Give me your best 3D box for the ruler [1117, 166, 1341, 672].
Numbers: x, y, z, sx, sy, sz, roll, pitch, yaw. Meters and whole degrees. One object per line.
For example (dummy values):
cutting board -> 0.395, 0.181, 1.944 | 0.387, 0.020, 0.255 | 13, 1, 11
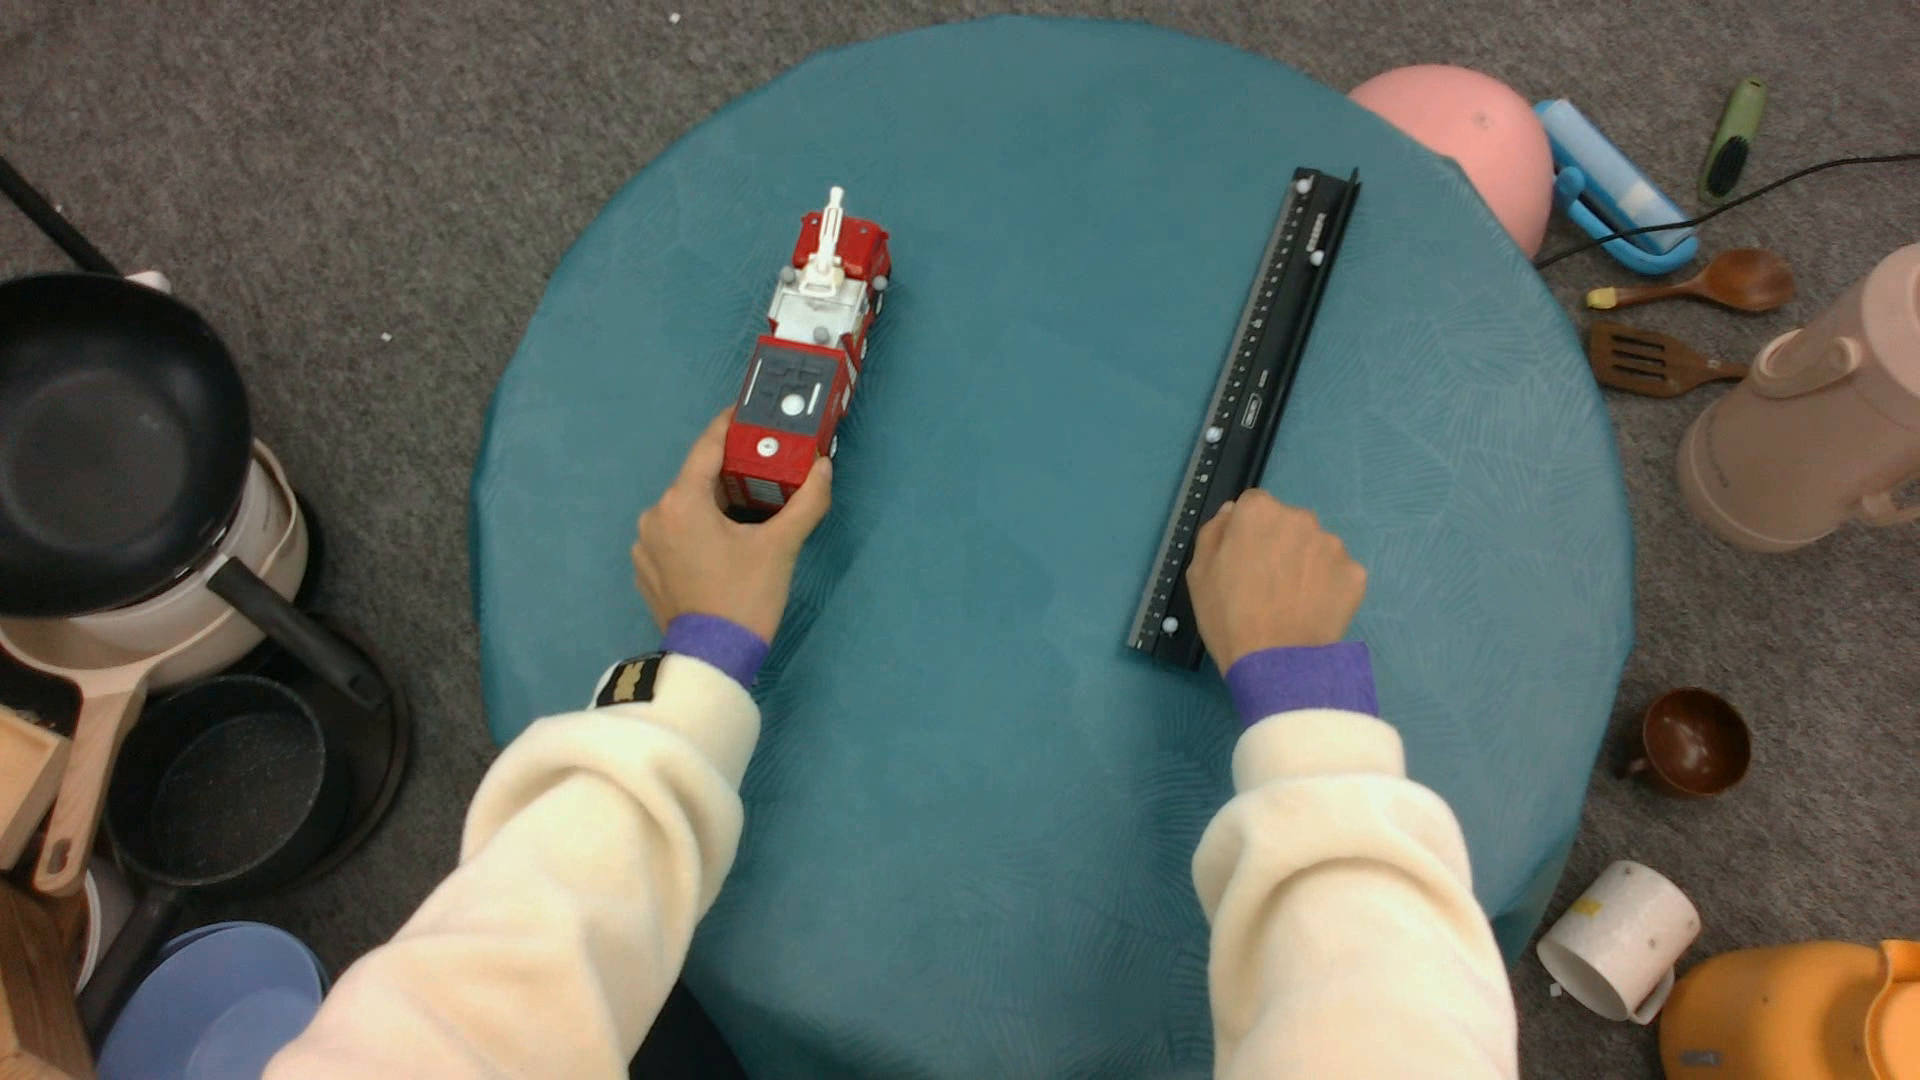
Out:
ruler -> 0.149, -0.078, 0.734 | 0.039, 0.017, 0.313 | 19, 69, 8

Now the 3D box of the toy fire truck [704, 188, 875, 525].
toy fire truck -> -0.086, -0.093, 0.707 | 0.054, 0.070, 0.168 | 12, 69, 4
